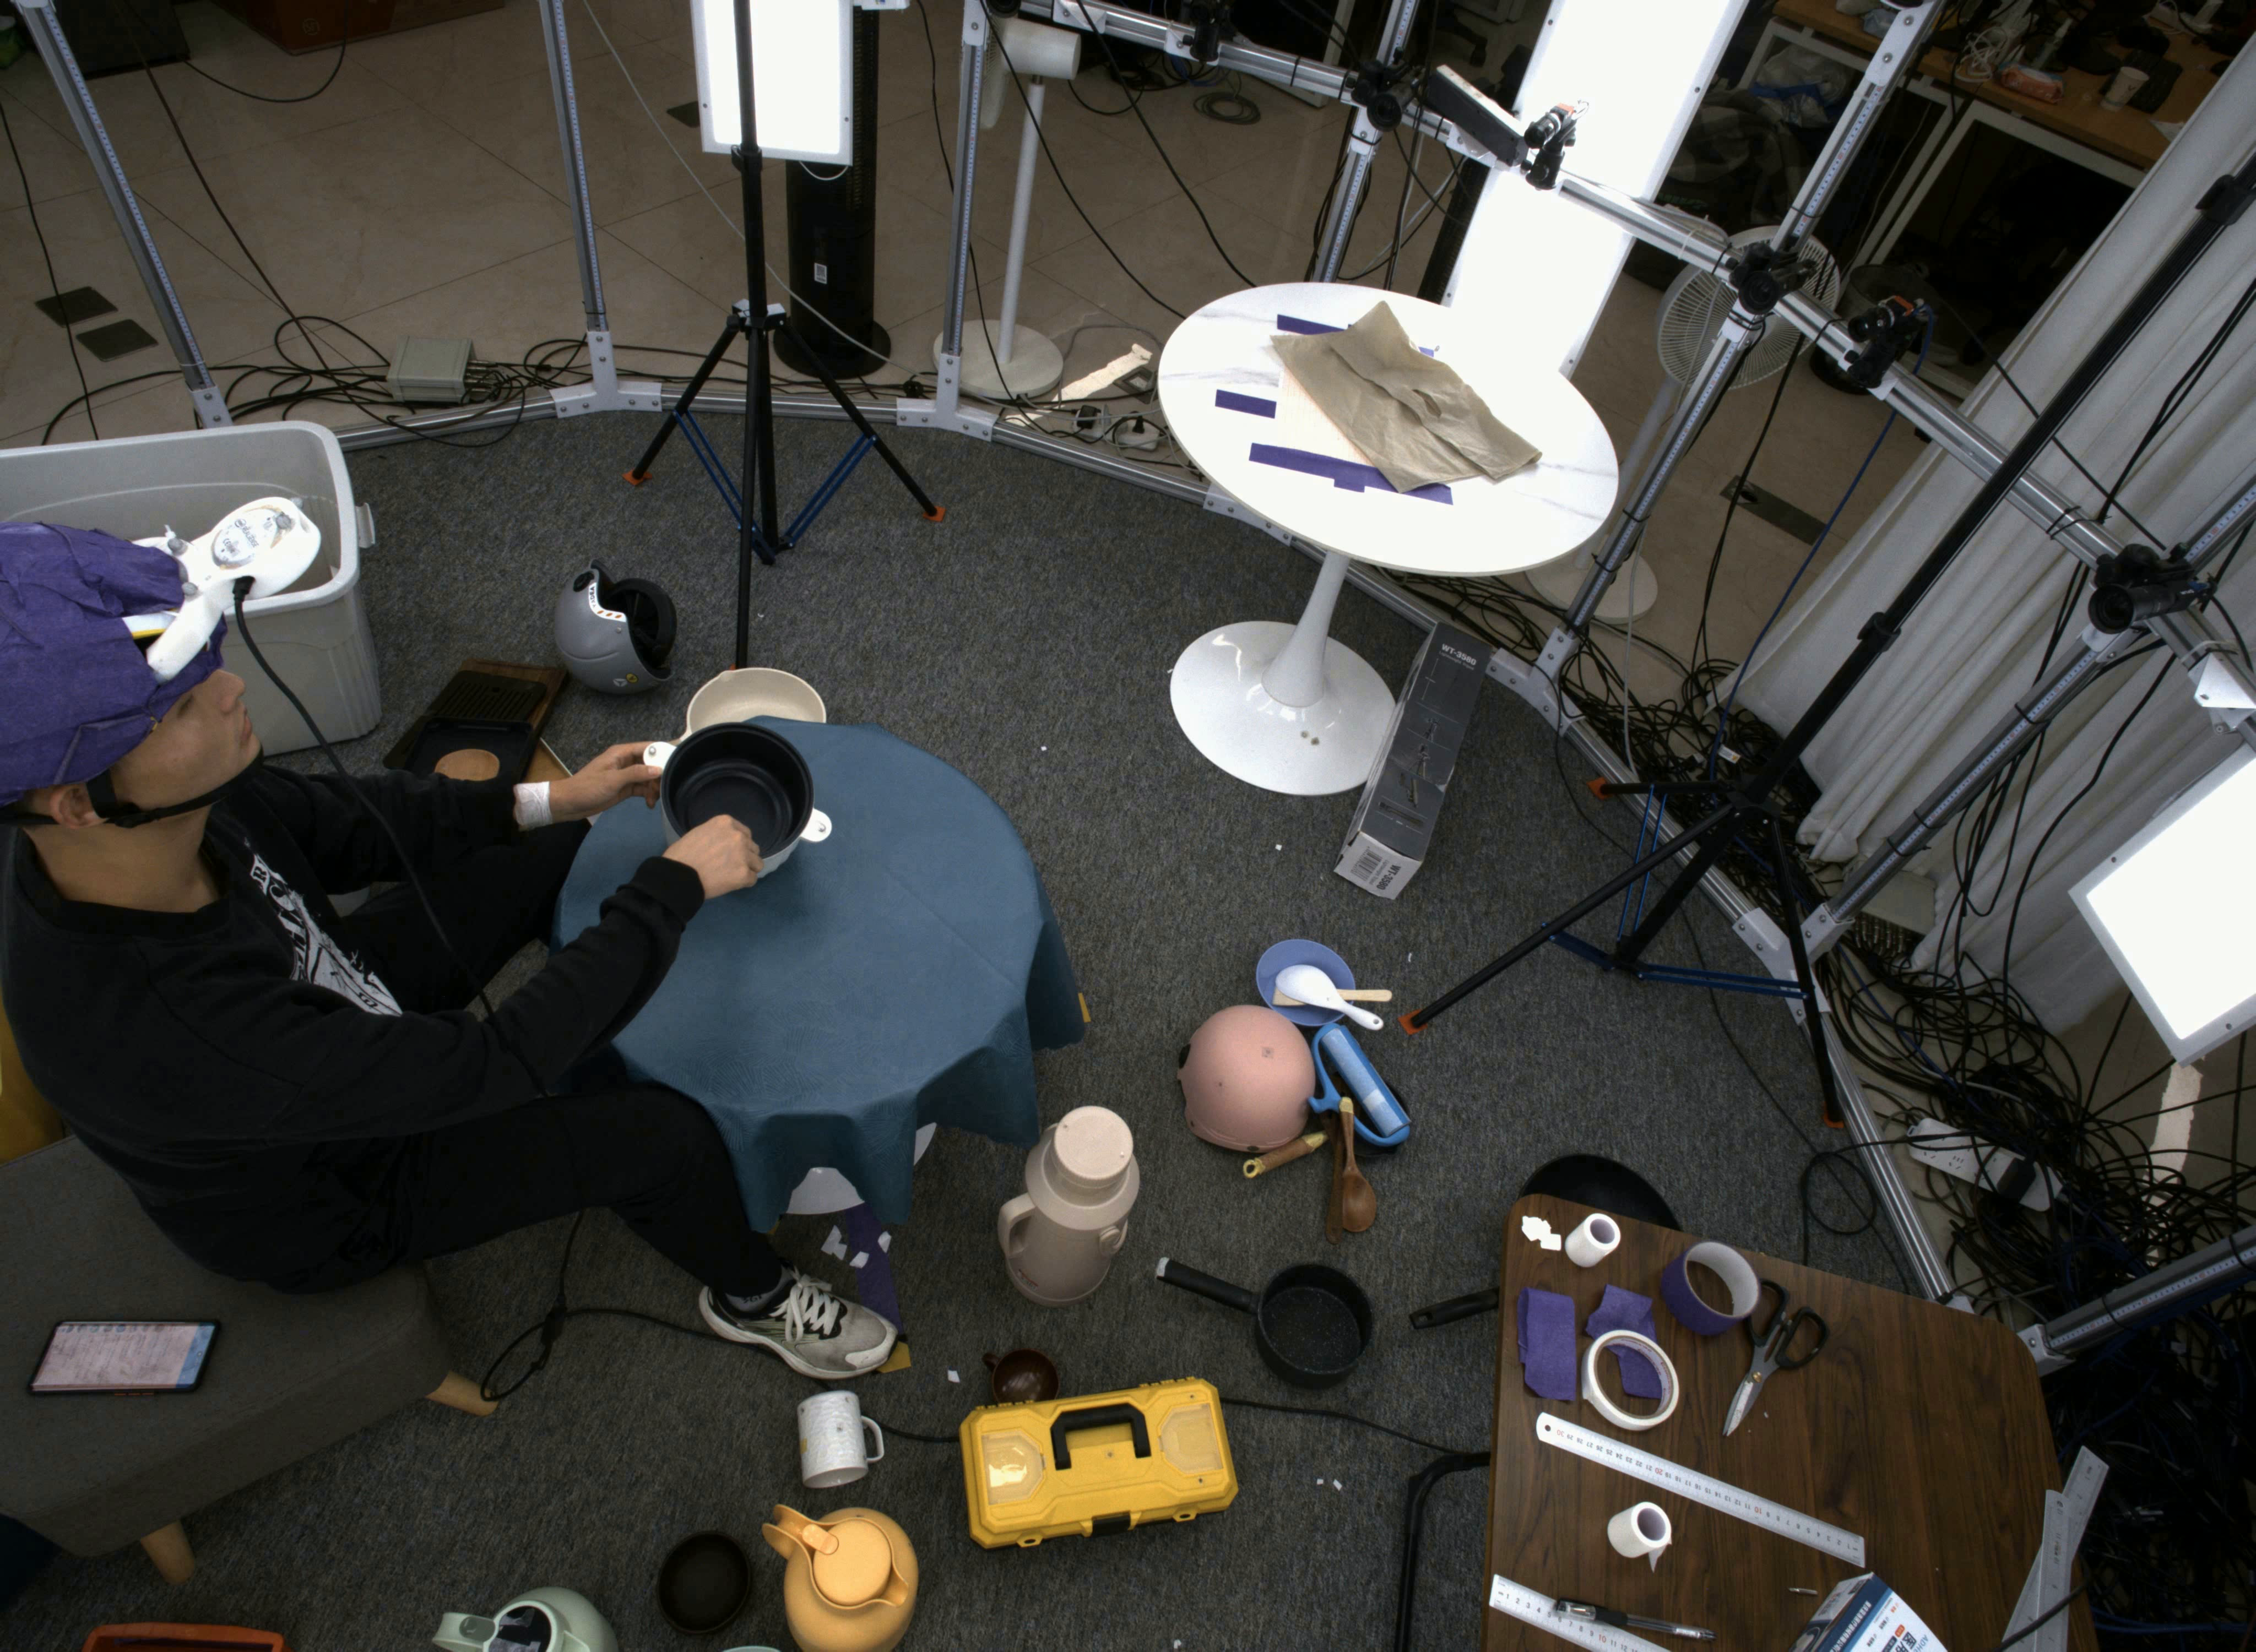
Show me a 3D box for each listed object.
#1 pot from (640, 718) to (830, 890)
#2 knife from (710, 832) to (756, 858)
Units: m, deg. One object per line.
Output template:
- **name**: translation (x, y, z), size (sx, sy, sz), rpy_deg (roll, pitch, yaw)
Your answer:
- **pot**: translation (-0.492, -0.029, 1.612), size (0.243, 0.142, 0.190), rpy_deg (25, 68, -14)
- **knife**: translation (-0.459, 0.020, 1.511), size (0.017, 0.223, 0.026), rpy_deg (0, 91, -5)
